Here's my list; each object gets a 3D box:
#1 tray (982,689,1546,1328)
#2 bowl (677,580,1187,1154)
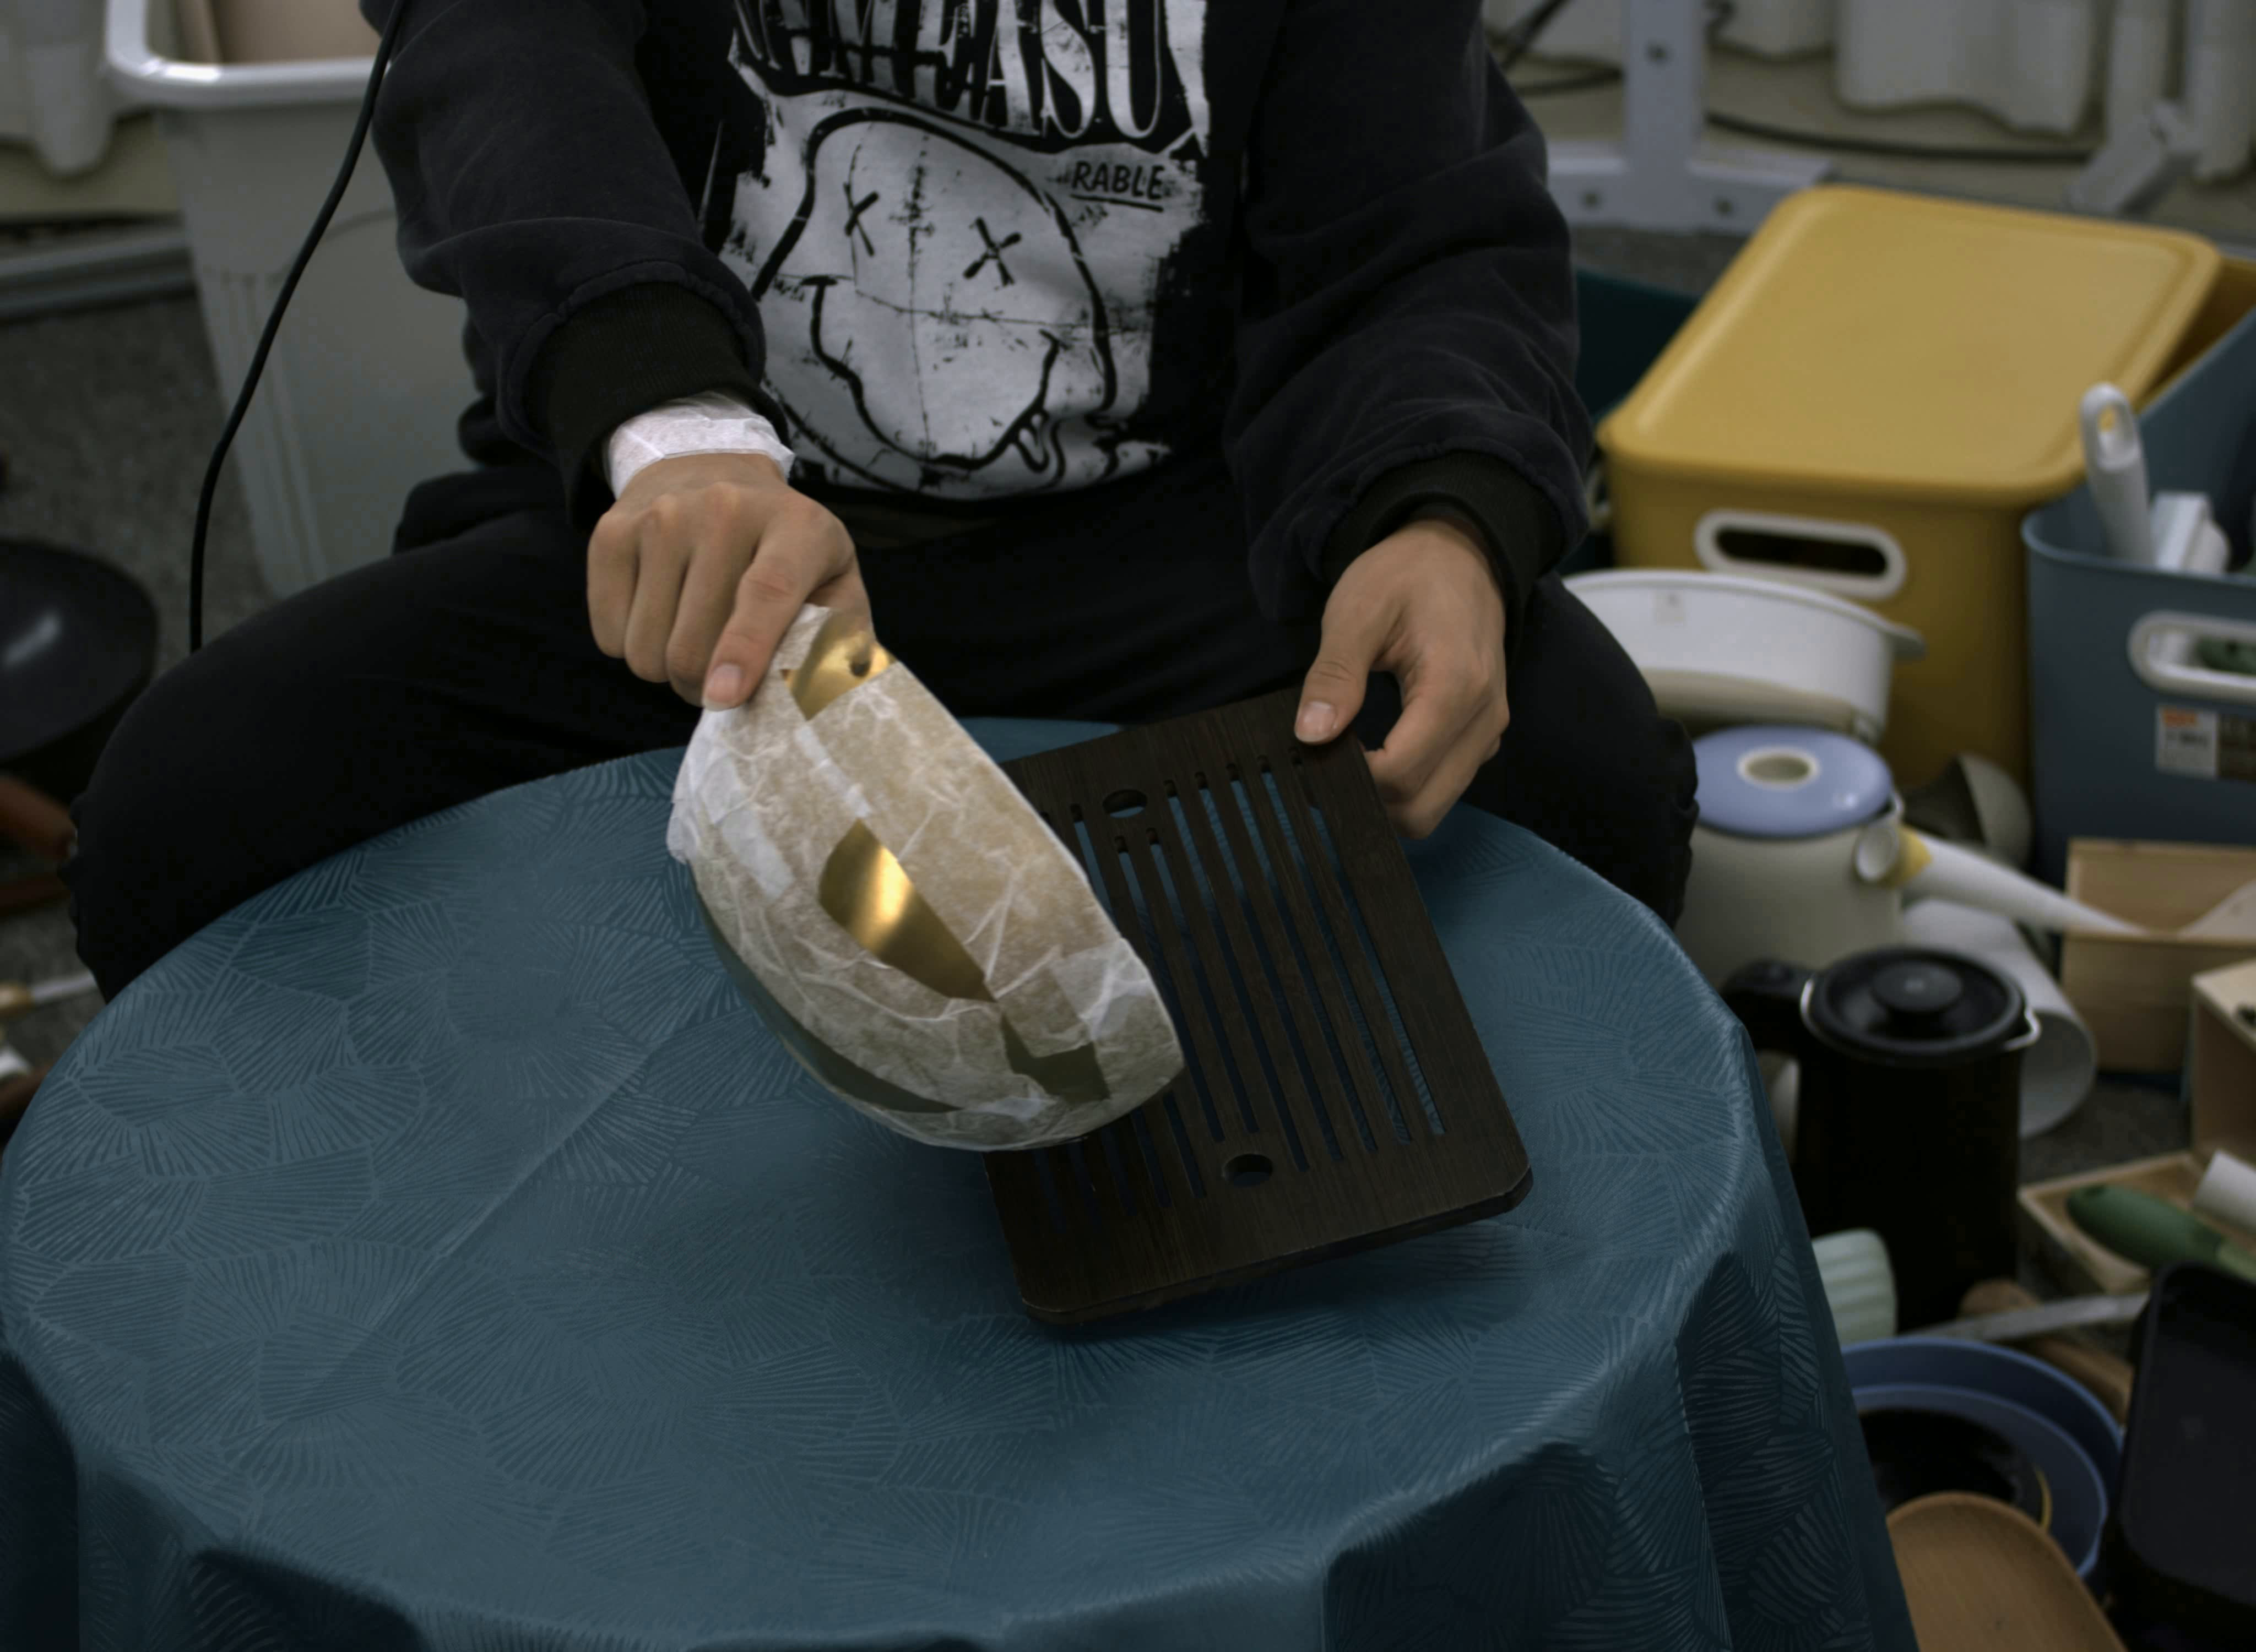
[{"bbox_3d":[0.026,0.058,1.905,0.170,0.018,0.310,-14,34,-3],"label":"tray"},{"bbox_3d":[-0.080,0.033,1.801,0.095,0.212,0.215,-39,37,-10],"label":"bowl"}]
